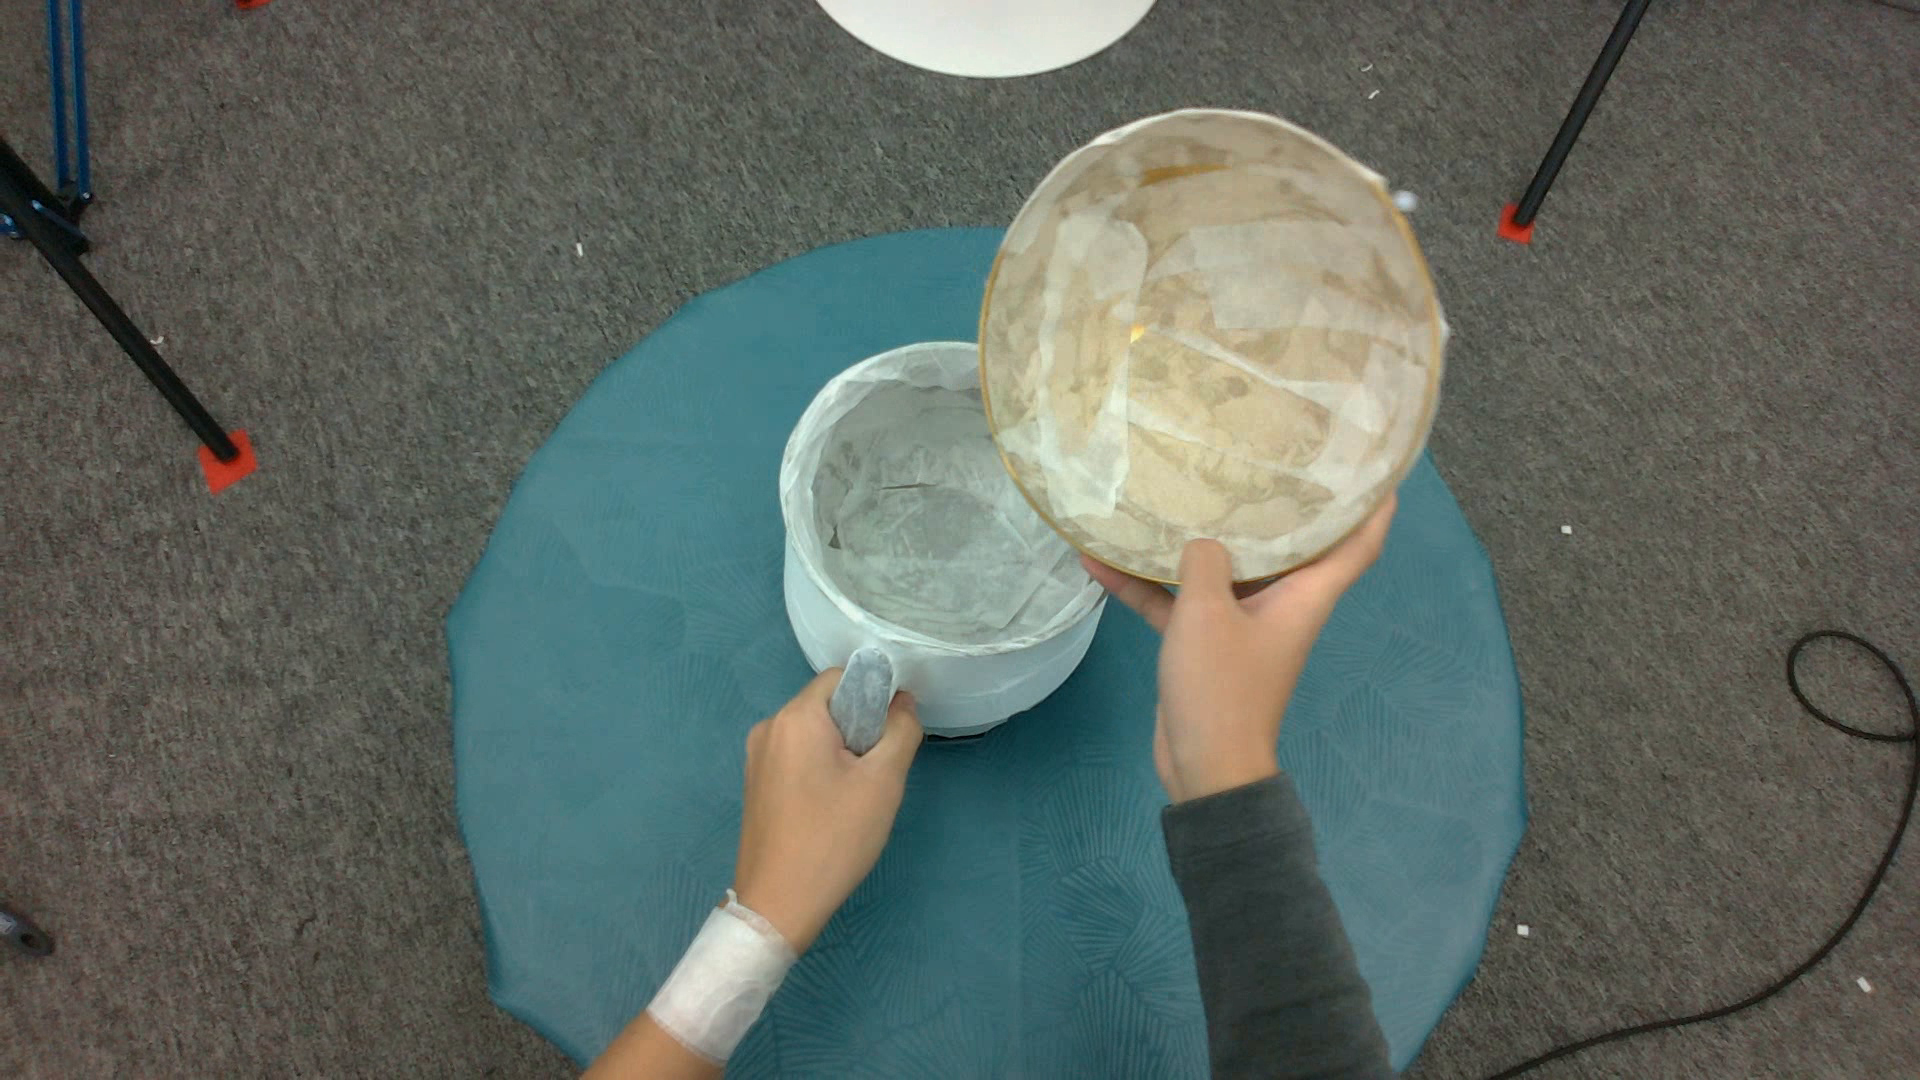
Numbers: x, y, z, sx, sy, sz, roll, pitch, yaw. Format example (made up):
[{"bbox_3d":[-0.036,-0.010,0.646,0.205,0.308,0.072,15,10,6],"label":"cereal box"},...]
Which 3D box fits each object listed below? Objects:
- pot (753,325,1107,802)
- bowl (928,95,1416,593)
[{"bbox_3d":[-0.030,0.019,0.715,0.178,0.136,0.235,22,62,5],"label":"pot"},{"bbox_3d":[0.102,-0.087,0.630,0.214,0.095,0.214,3,98,21],"label":"bowl"}]
